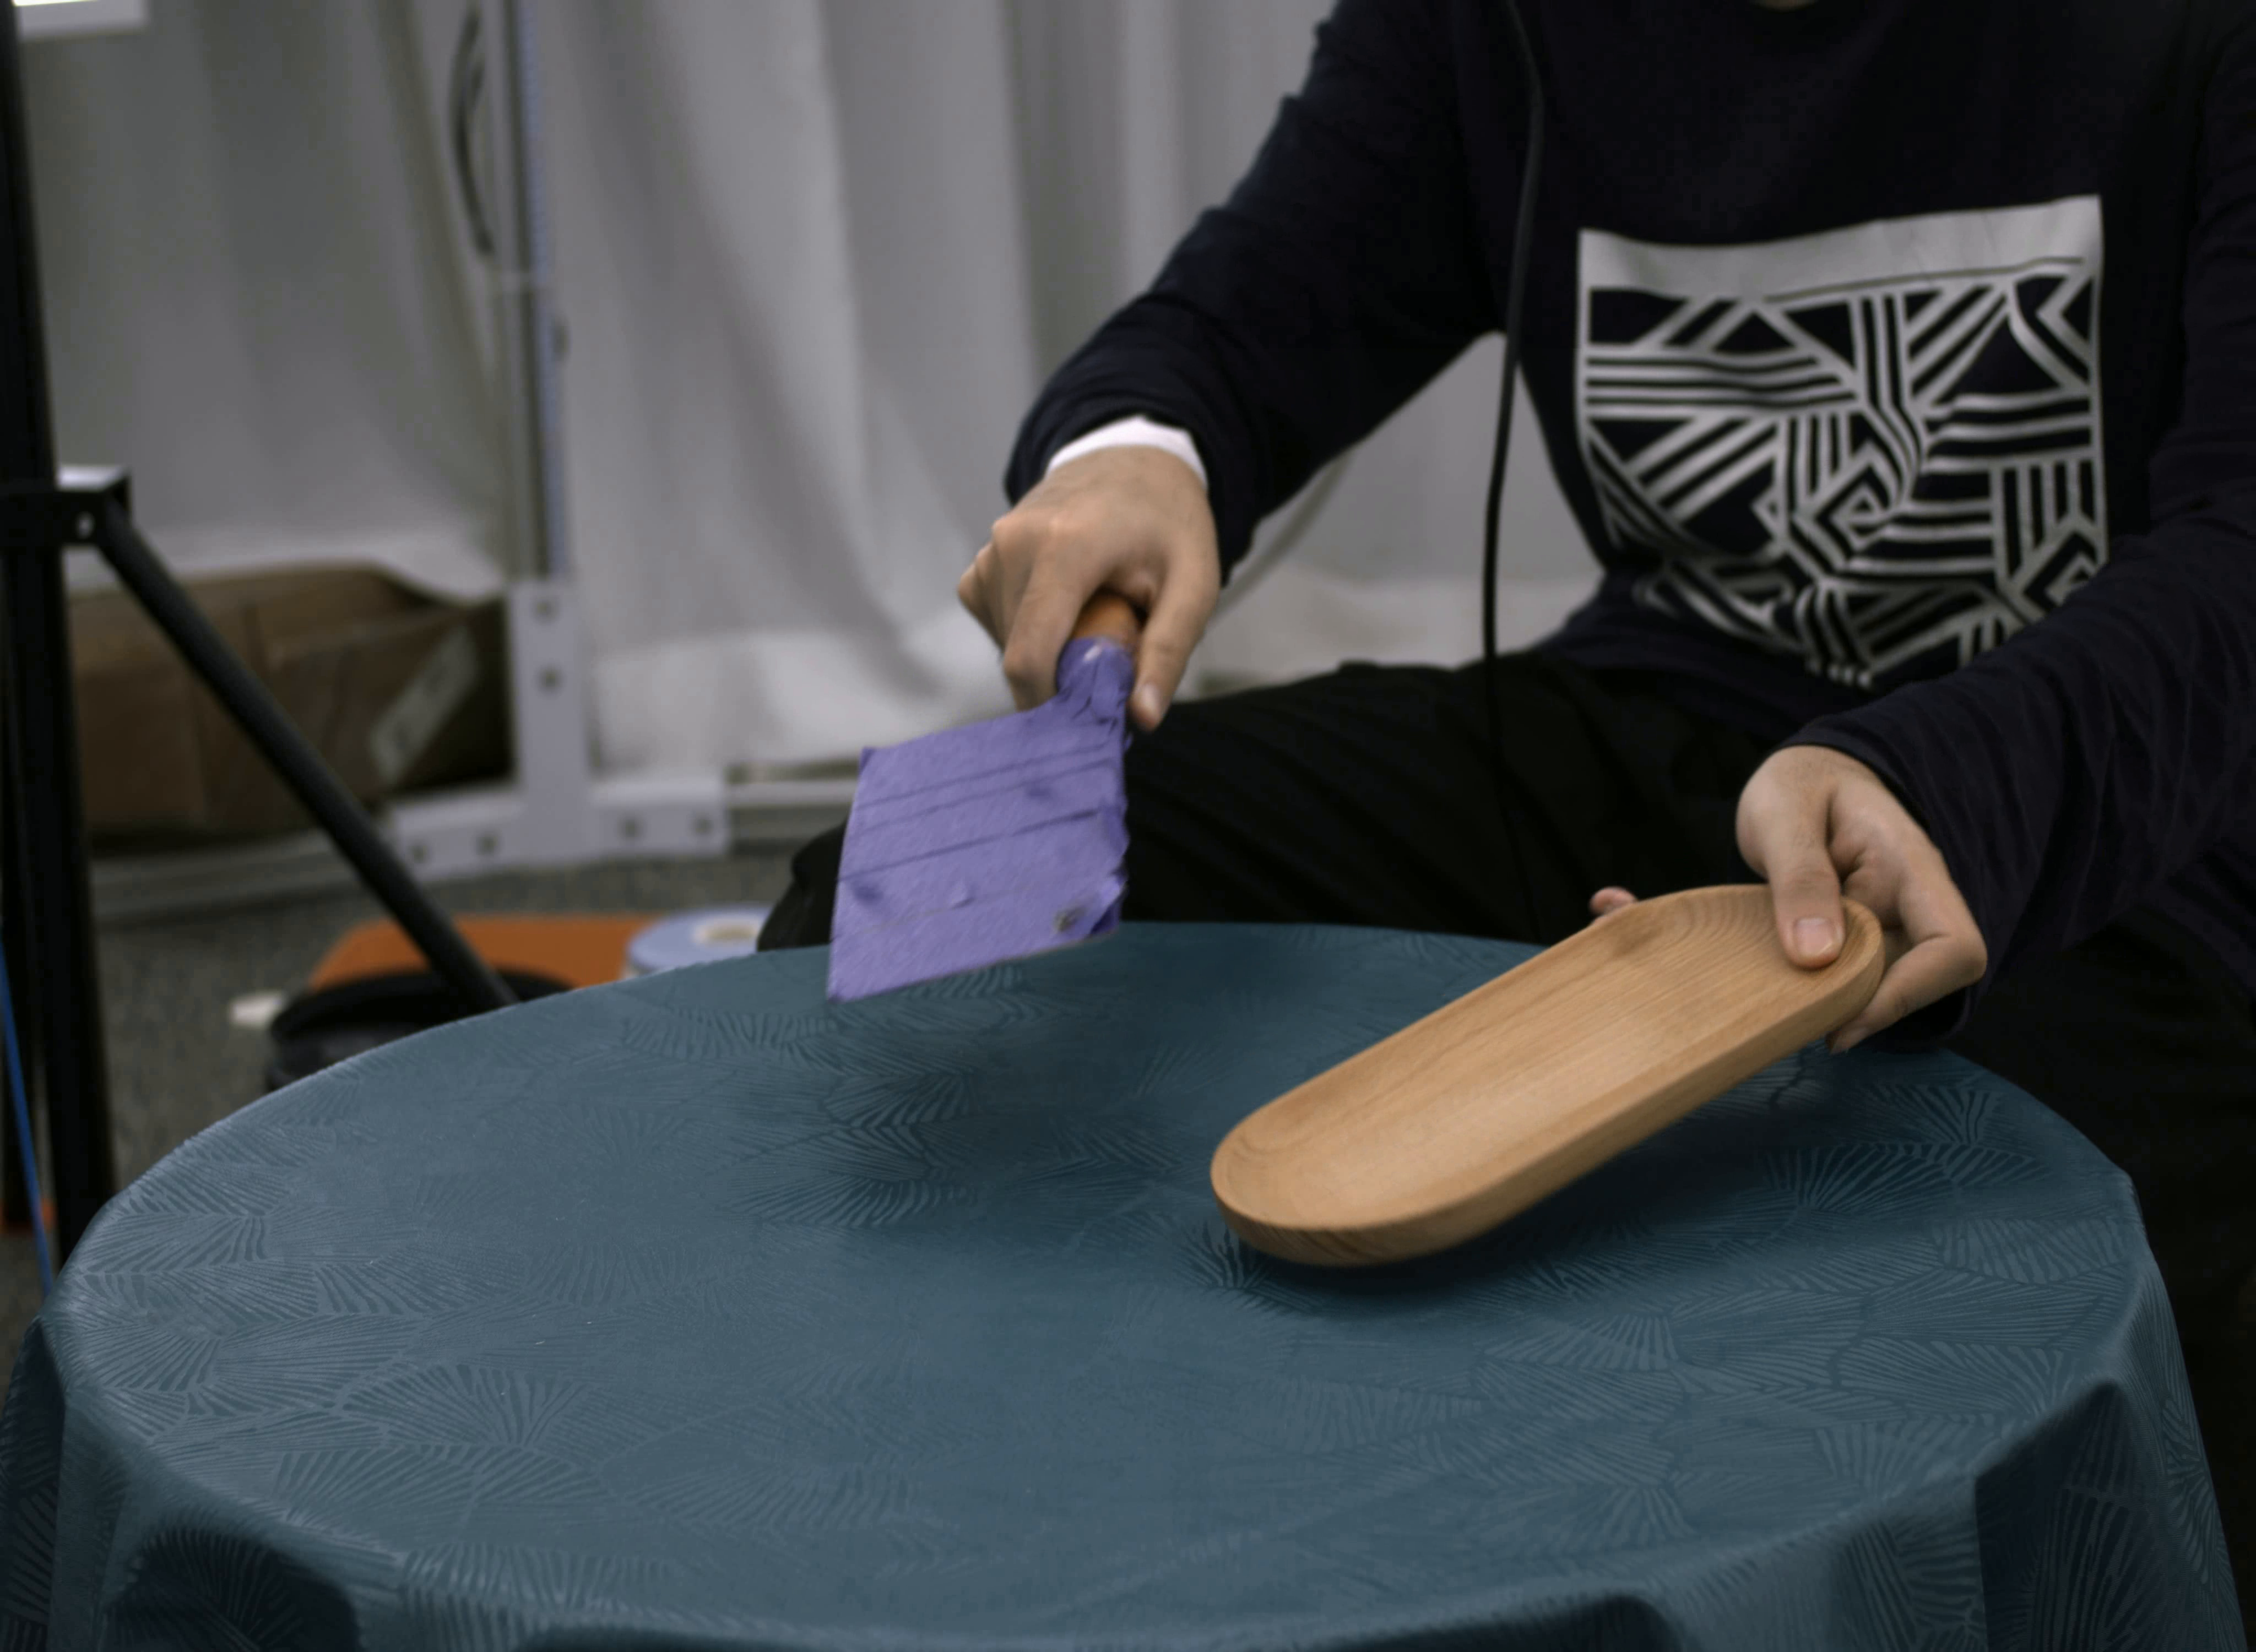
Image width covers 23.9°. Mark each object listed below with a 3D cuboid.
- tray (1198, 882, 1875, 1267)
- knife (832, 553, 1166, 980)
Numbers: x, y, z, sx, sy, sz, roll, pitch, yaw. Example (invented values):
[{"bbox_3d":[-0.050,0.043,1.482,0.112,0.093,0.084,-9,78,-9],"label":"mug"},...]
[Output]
[{"bbox_3d":[0.121,0.071,1.534,0.227,0.020,0.104,-28,24,-29],"label":"tray"},{"bbox_3d":[-0.041,-0.023,1.689,0.104,0.032,0.317,-14,18,4],"label":"knife"}]
